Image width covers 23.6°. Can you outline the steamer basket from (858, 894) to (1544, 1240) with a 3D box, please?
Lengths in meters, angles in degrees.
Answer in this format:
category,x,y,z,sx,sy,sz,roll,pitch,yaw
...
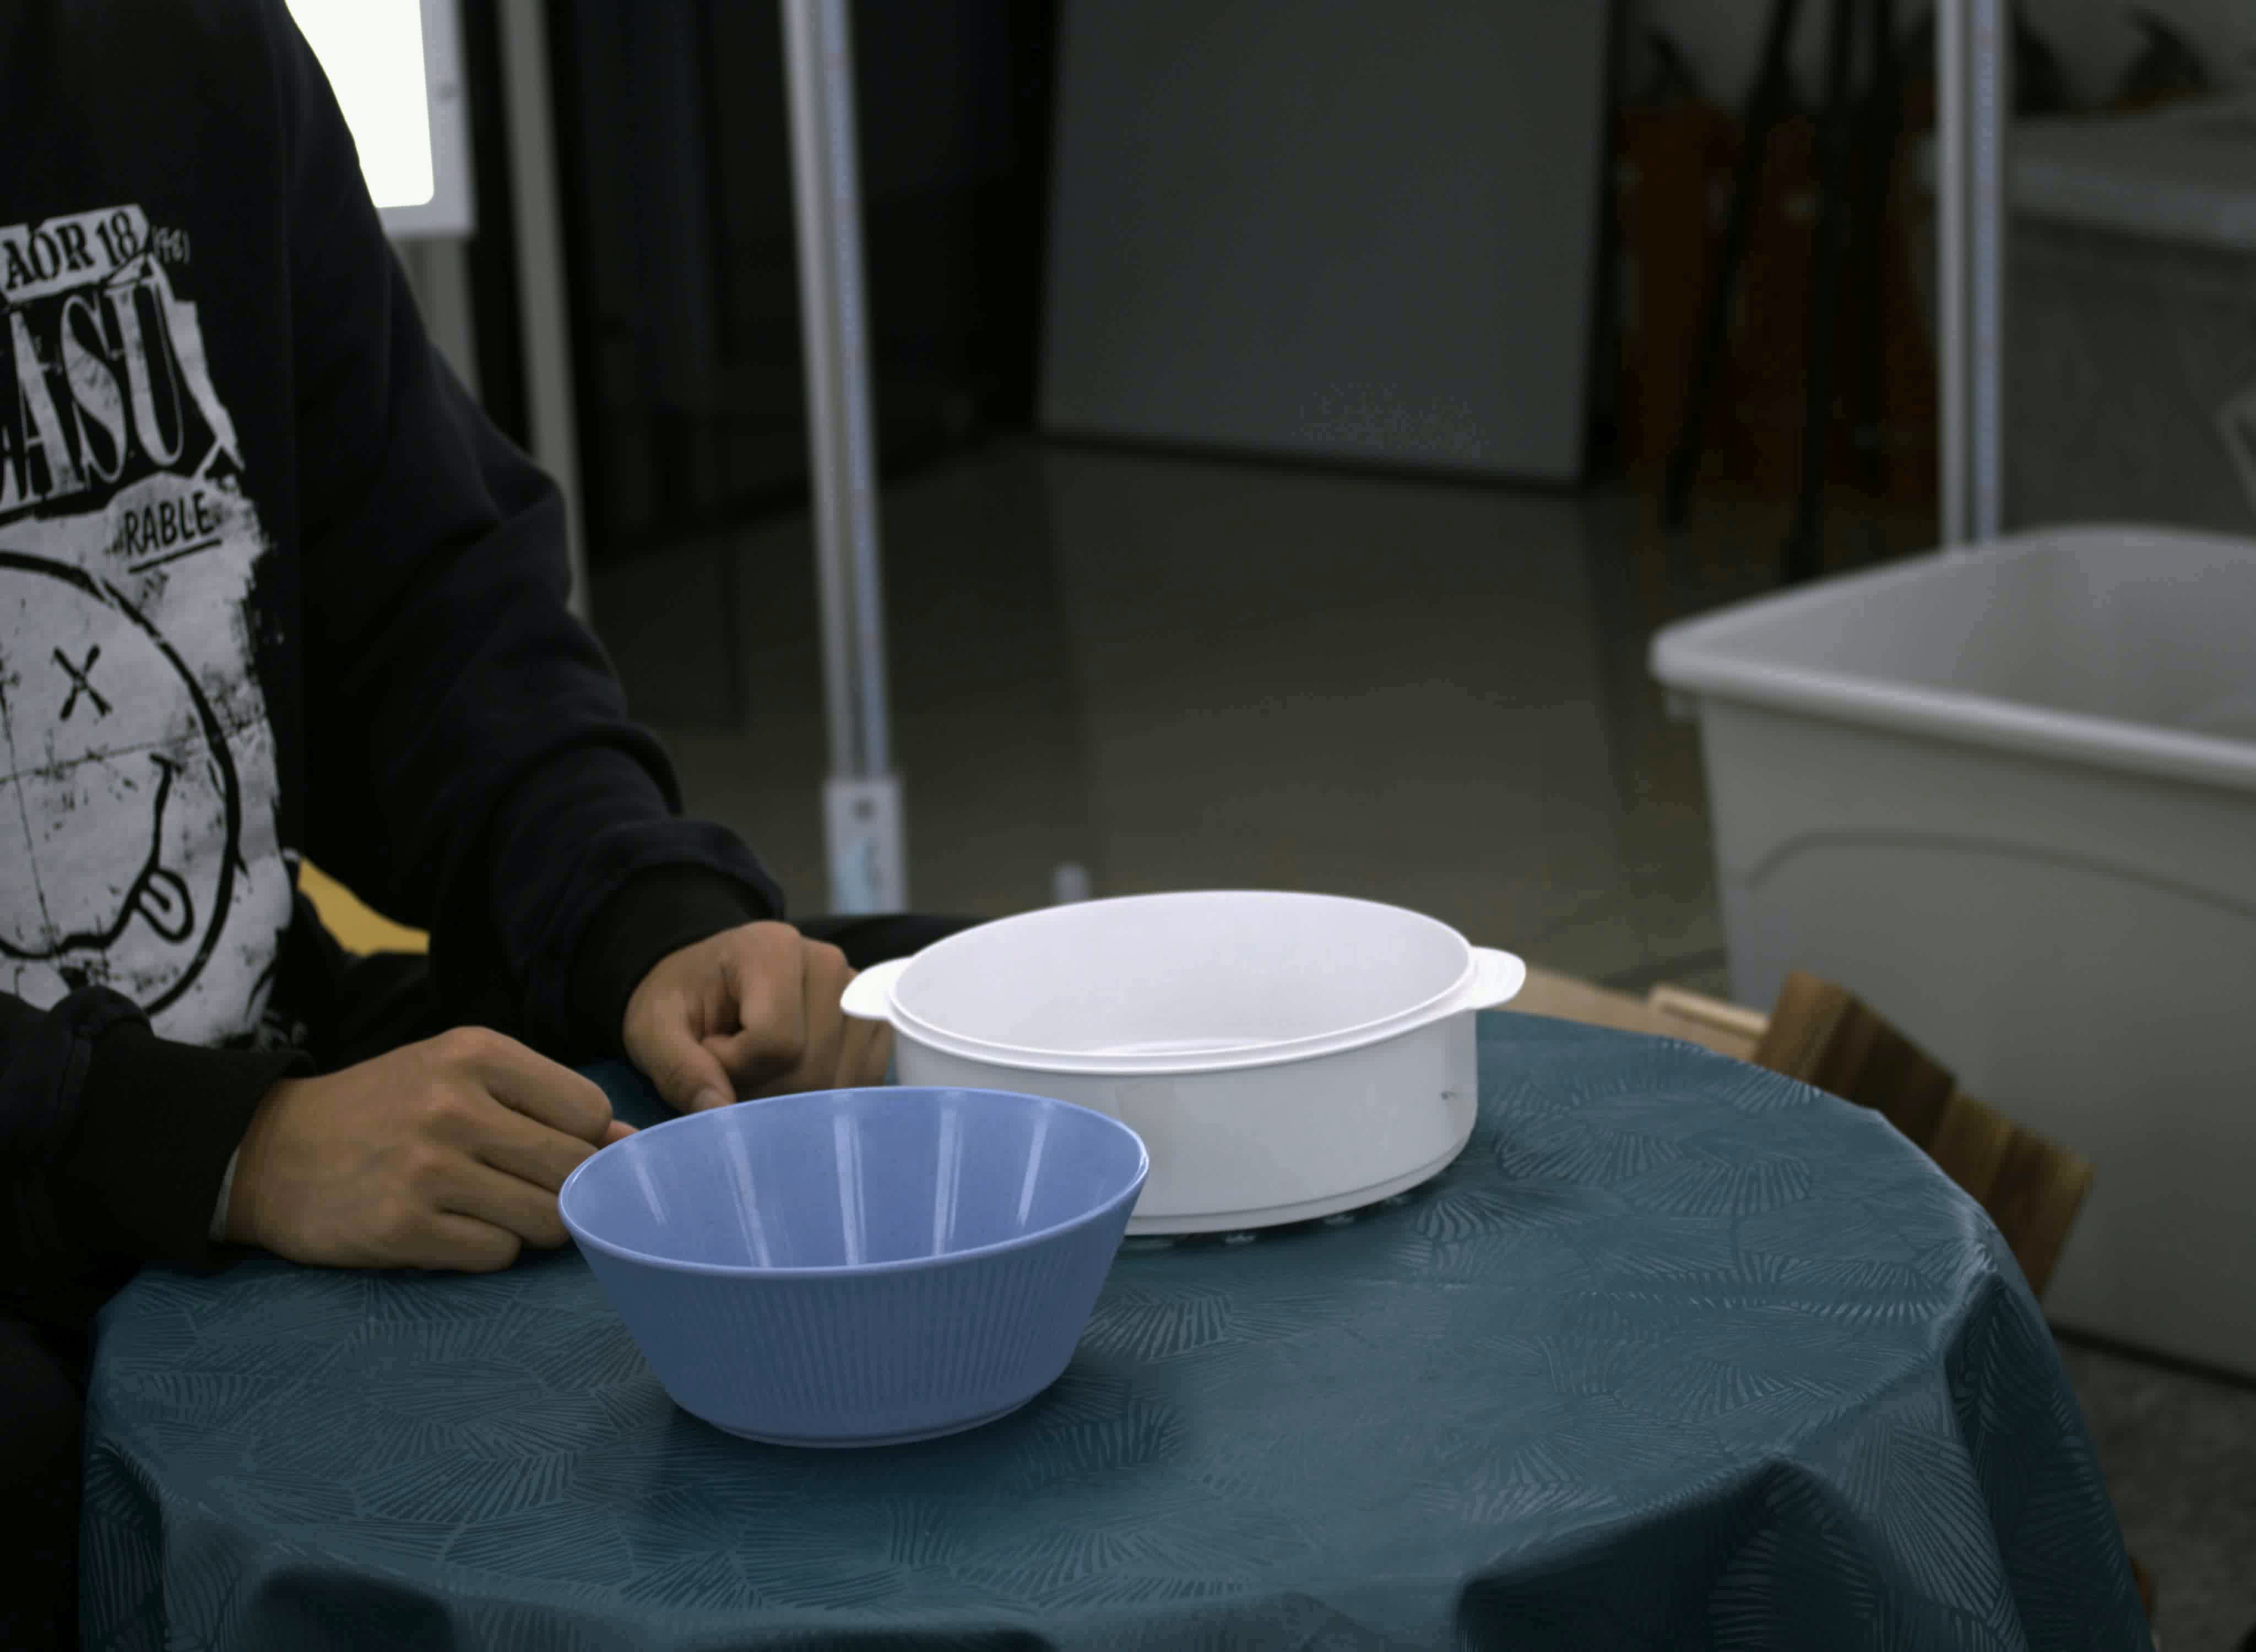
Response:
category,x,y,z,sx,sy,sz,roll,pitch,yaw
steamer basket,0.025,0.079,1.791,0.229,0.070,0.201,0,14,9

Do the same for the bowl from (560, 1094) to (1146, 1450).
category,x,y,z,sx,sy,sz,roll,pitch,yaw
bowl,-0.079,0.134,1.595,0.174,0.071,0.176,-4,13,0
